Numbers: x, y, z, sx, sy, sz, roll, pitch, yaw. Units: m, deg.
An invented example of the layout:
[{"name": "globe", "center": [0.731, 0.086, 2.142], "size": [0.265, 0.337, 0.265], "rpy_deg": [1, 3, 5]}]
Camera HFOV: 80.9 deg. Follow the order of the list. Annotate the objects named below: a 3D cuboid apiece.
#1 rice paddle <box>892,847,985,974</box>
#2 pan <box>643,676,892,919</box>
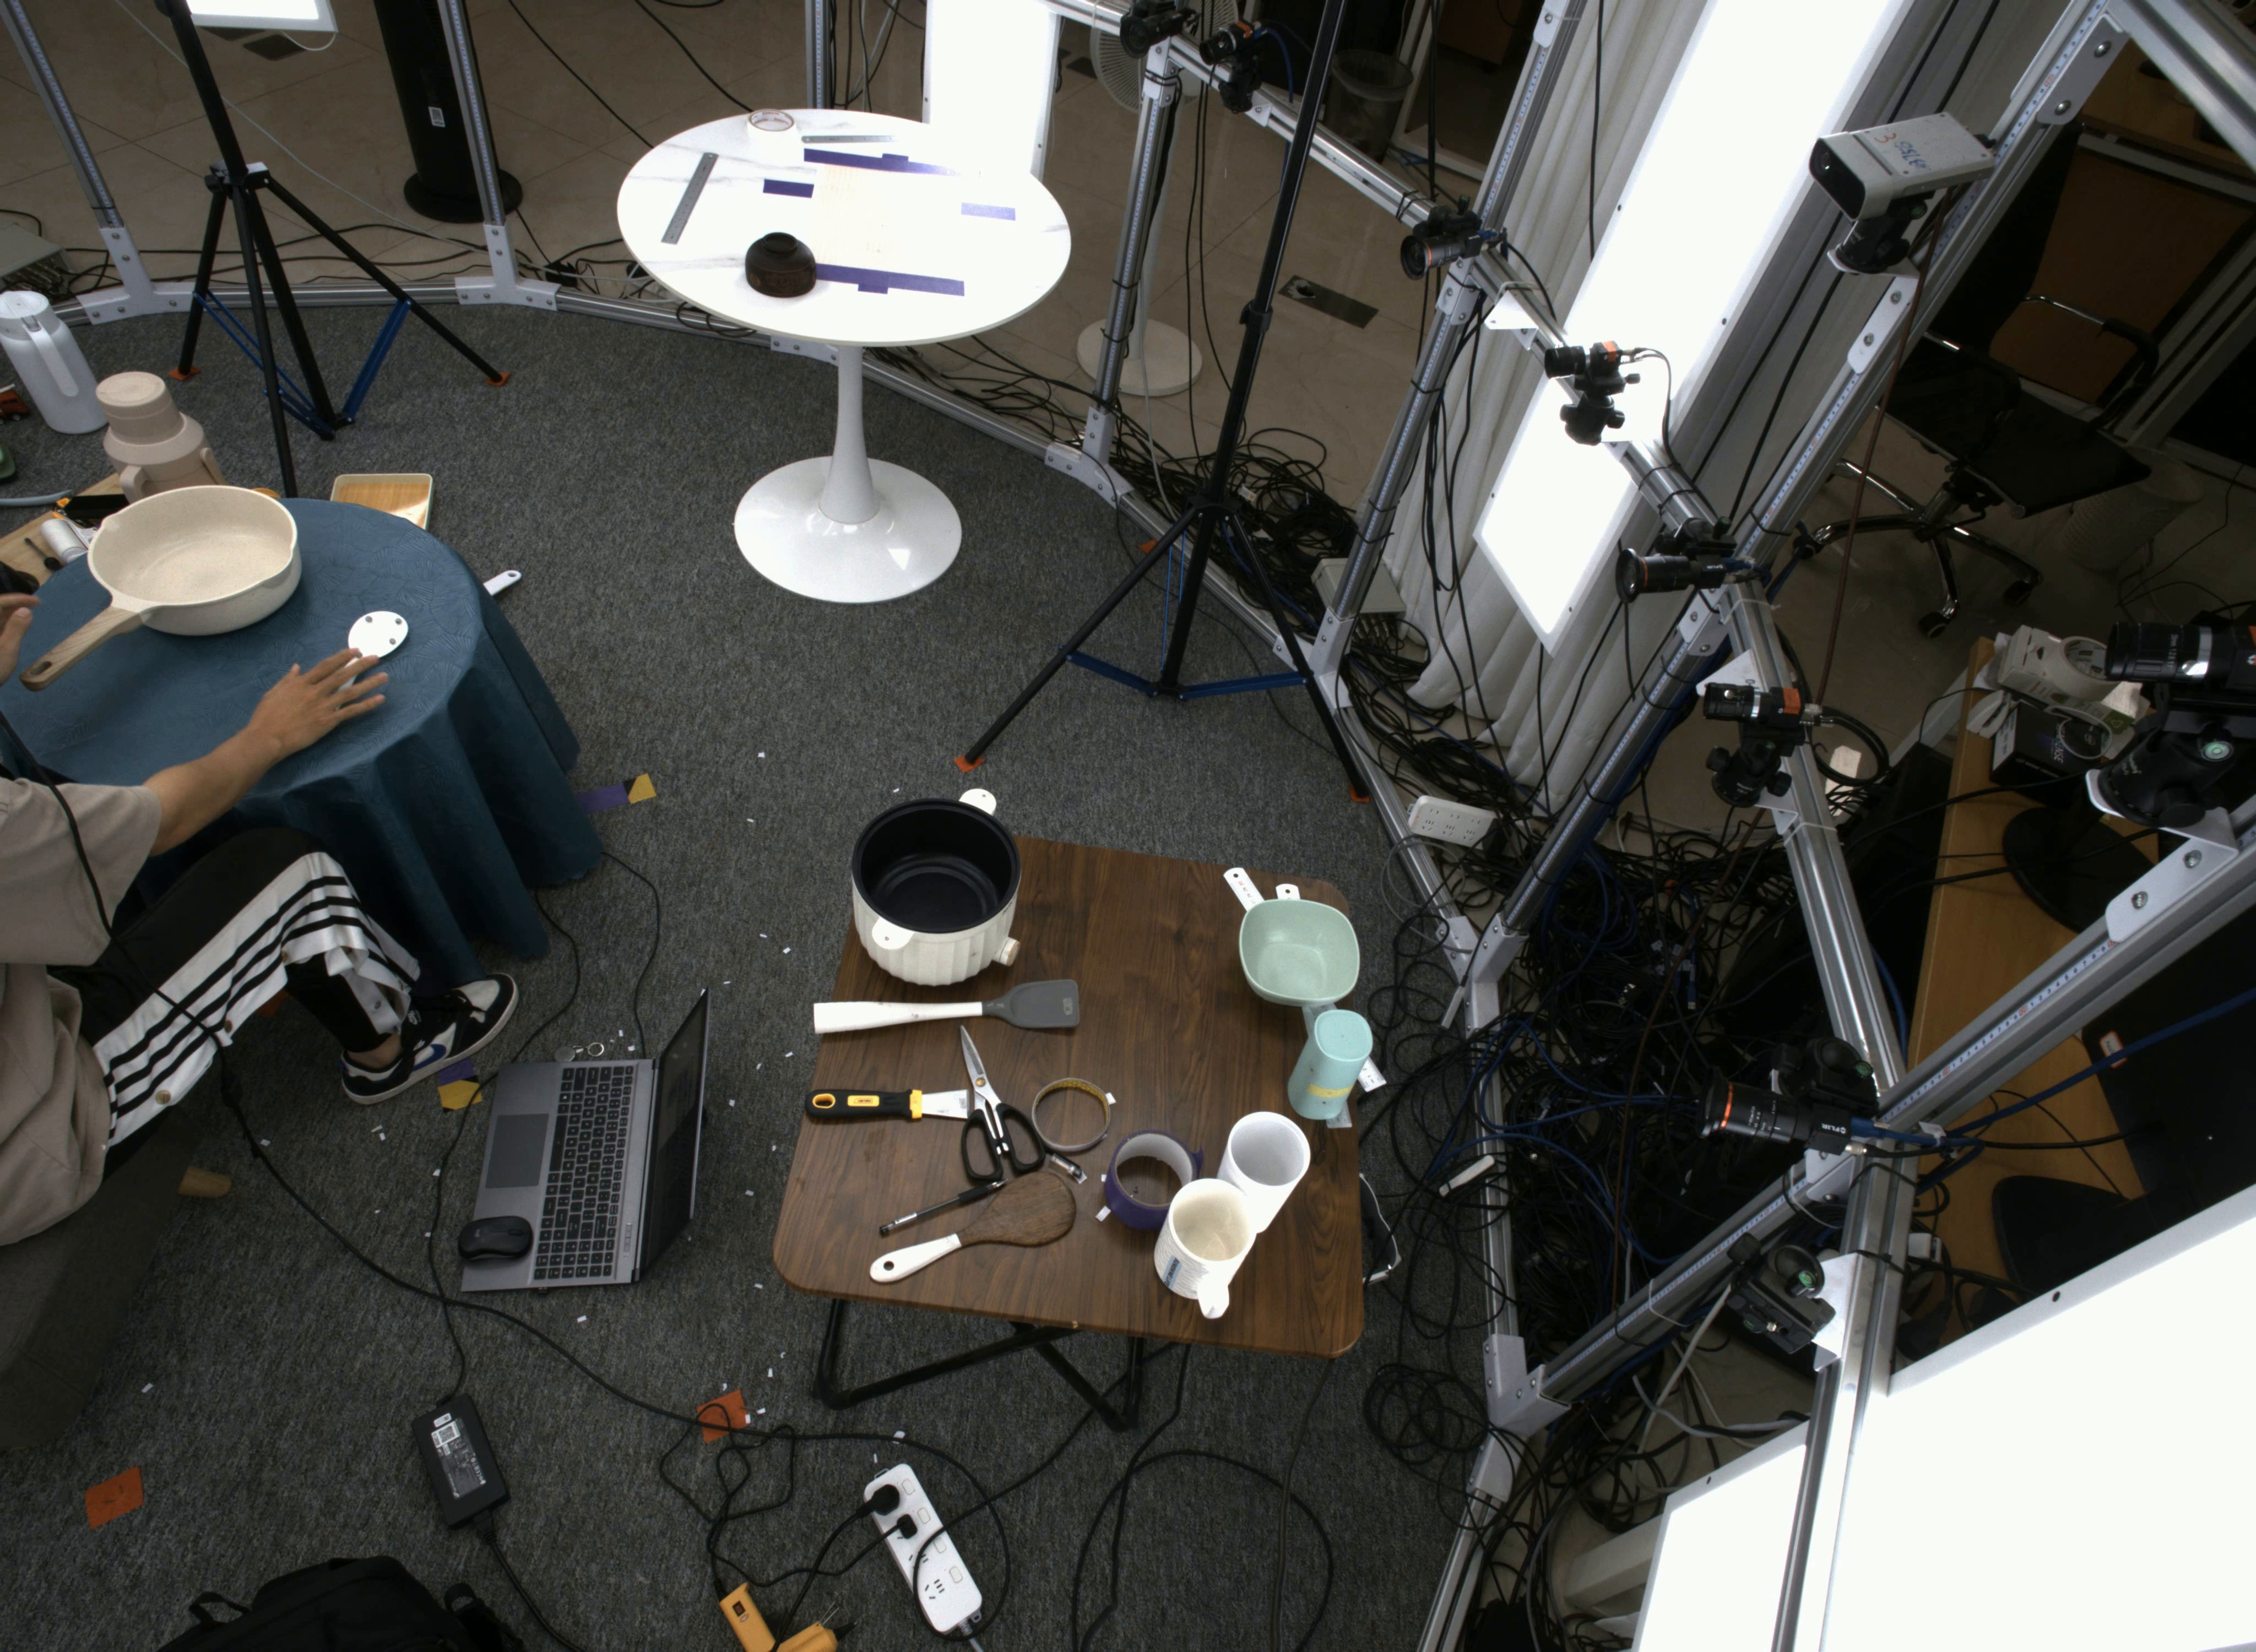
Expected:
[{"name": "rice paddle", "center": [-0.245, 0.101, 1.681], "size": [0.068, 0.030, 0.203], "rpy_deg": [29, 52, -2]}, {"name": "pan", "center": [-0.482, -0.022, 1.677], "size": [0.260, 0.104, 0.432], "rpy_deg": [28, 53, 6]}]
